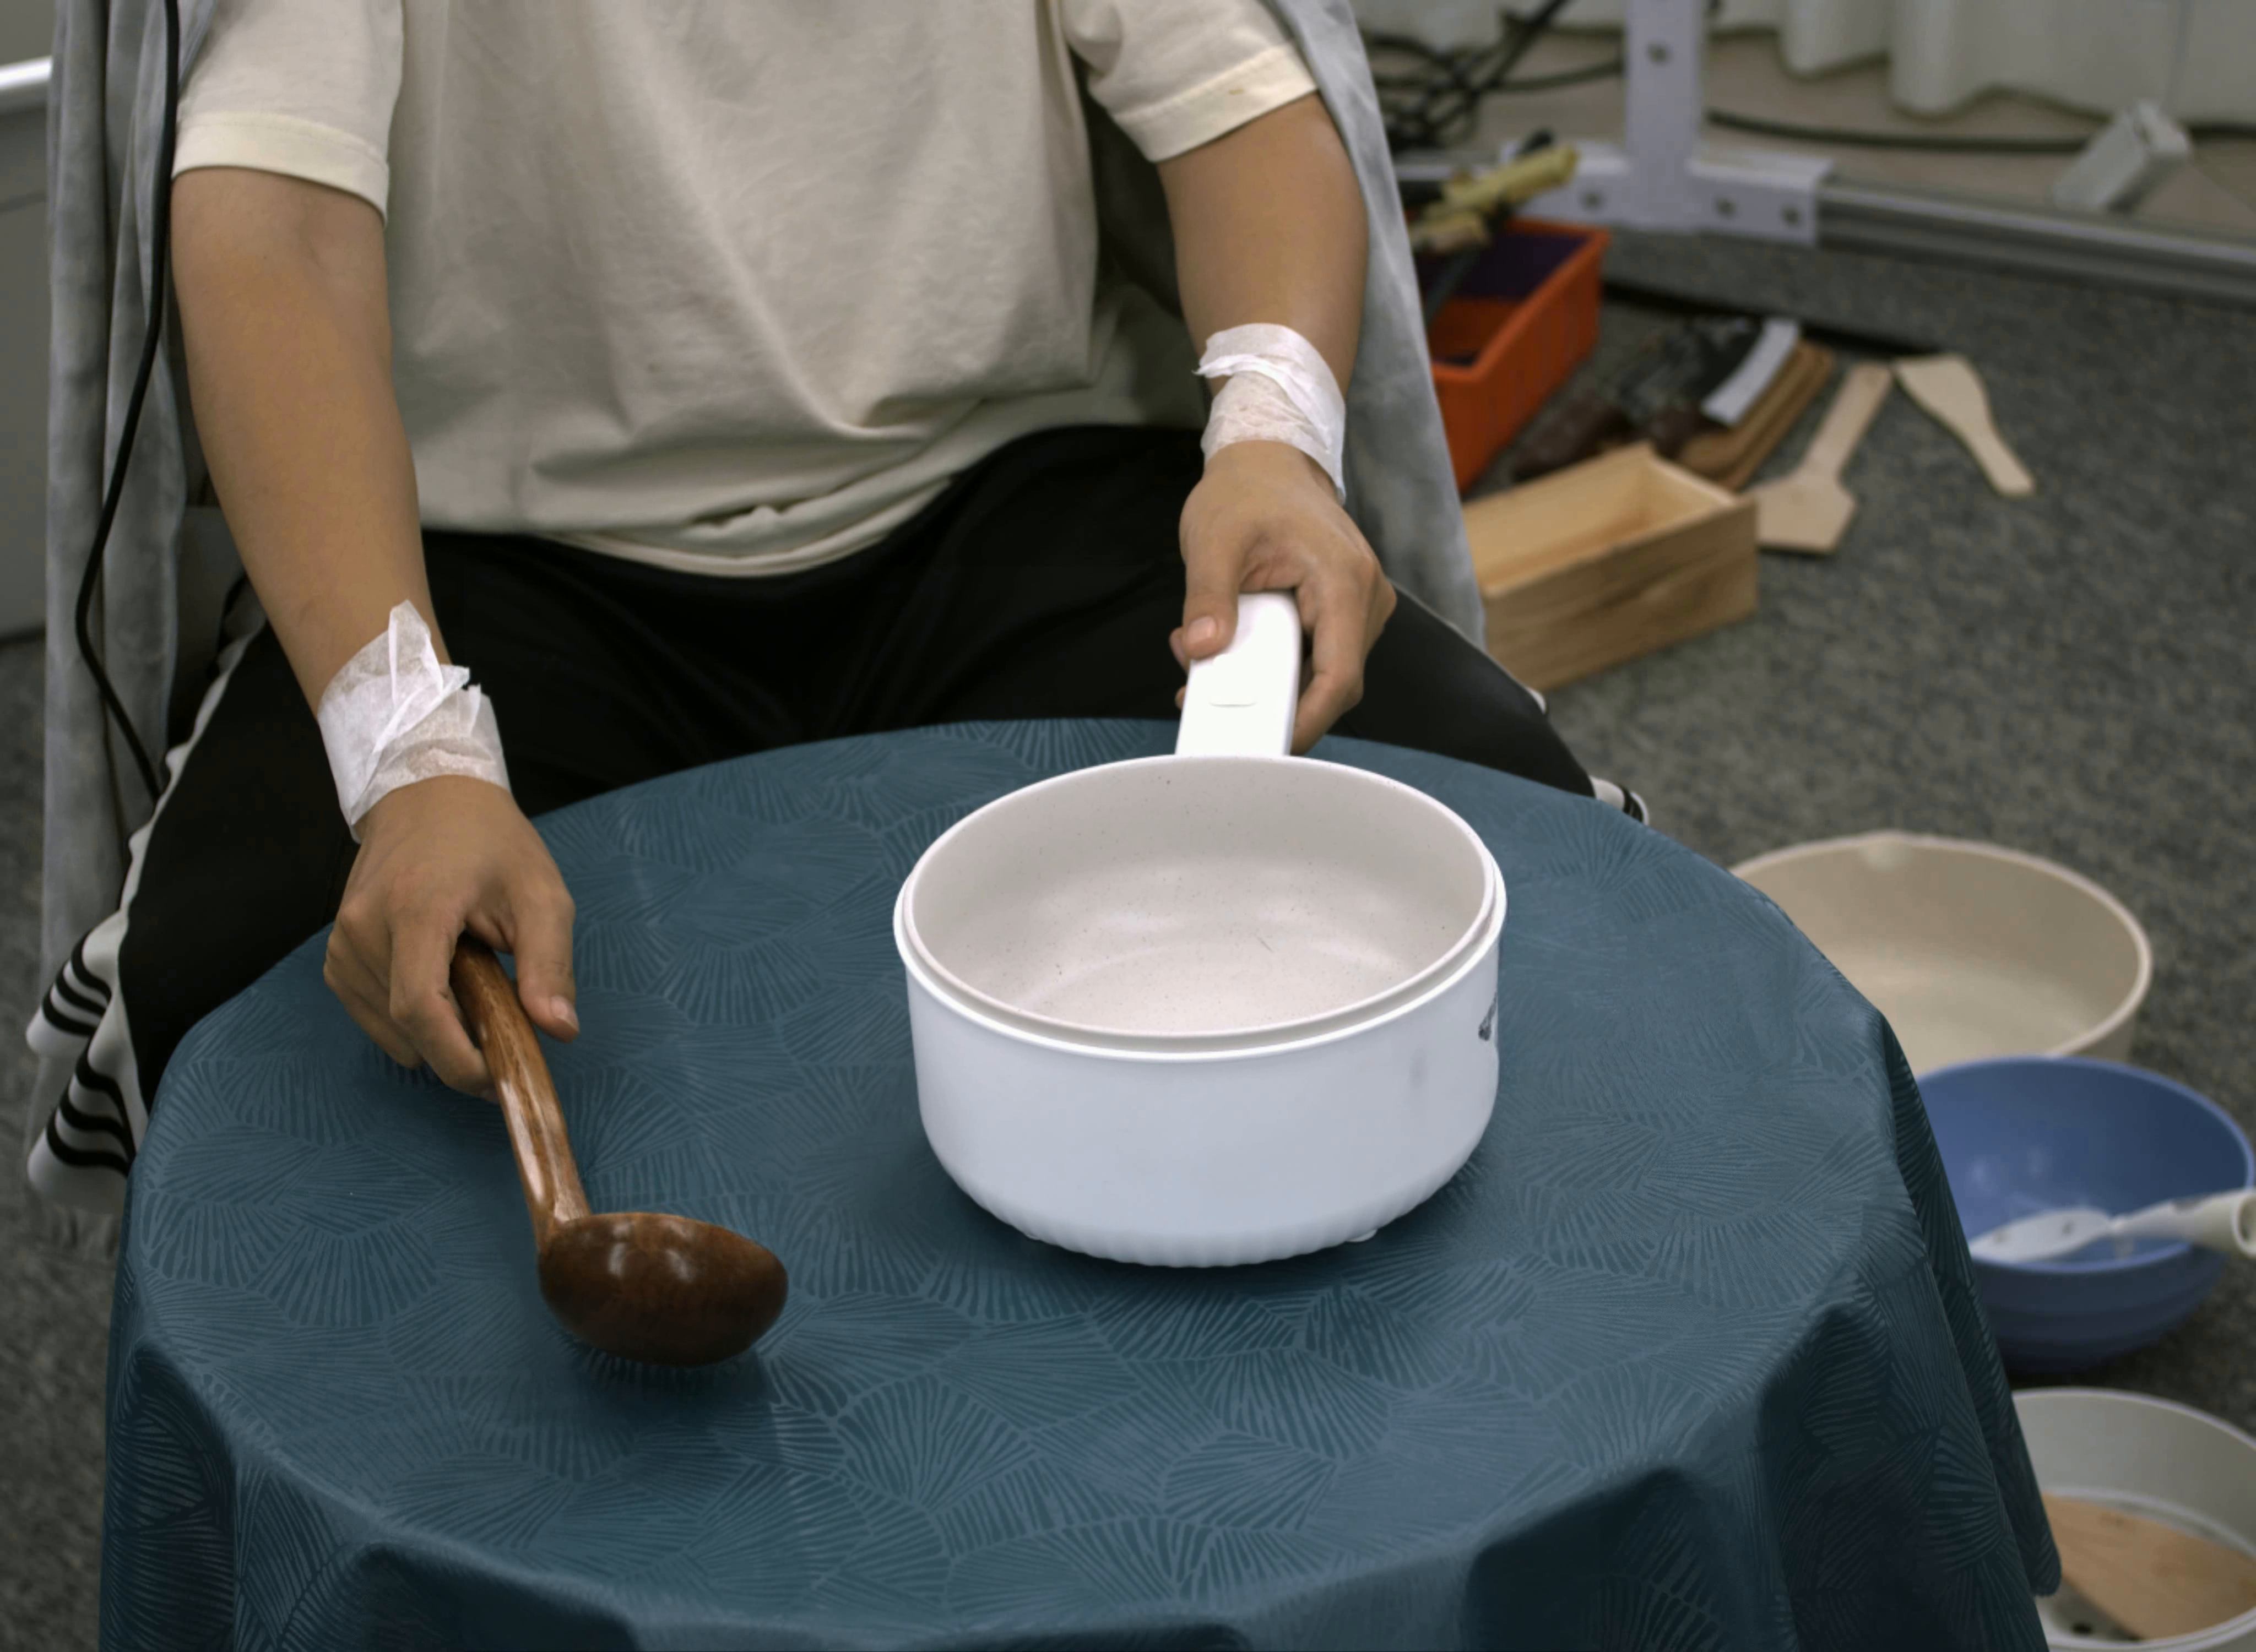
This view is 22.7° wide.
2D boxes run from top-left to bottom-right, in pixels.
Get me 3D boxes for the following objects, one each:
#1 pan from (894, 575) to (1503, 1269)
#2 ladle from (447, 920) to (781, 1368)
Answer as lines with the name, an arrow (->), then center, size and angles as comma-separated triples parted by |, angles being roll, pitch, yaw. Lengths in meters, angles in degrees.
pan -> 0.034, 0.030, 1.930 | 0.200, 0.101, 0.360 | -1, 26, 7
ladle -> -0.177, 0.087, 1.837 | 0.076, 0.081, 0.278 | -45, 32, 14
